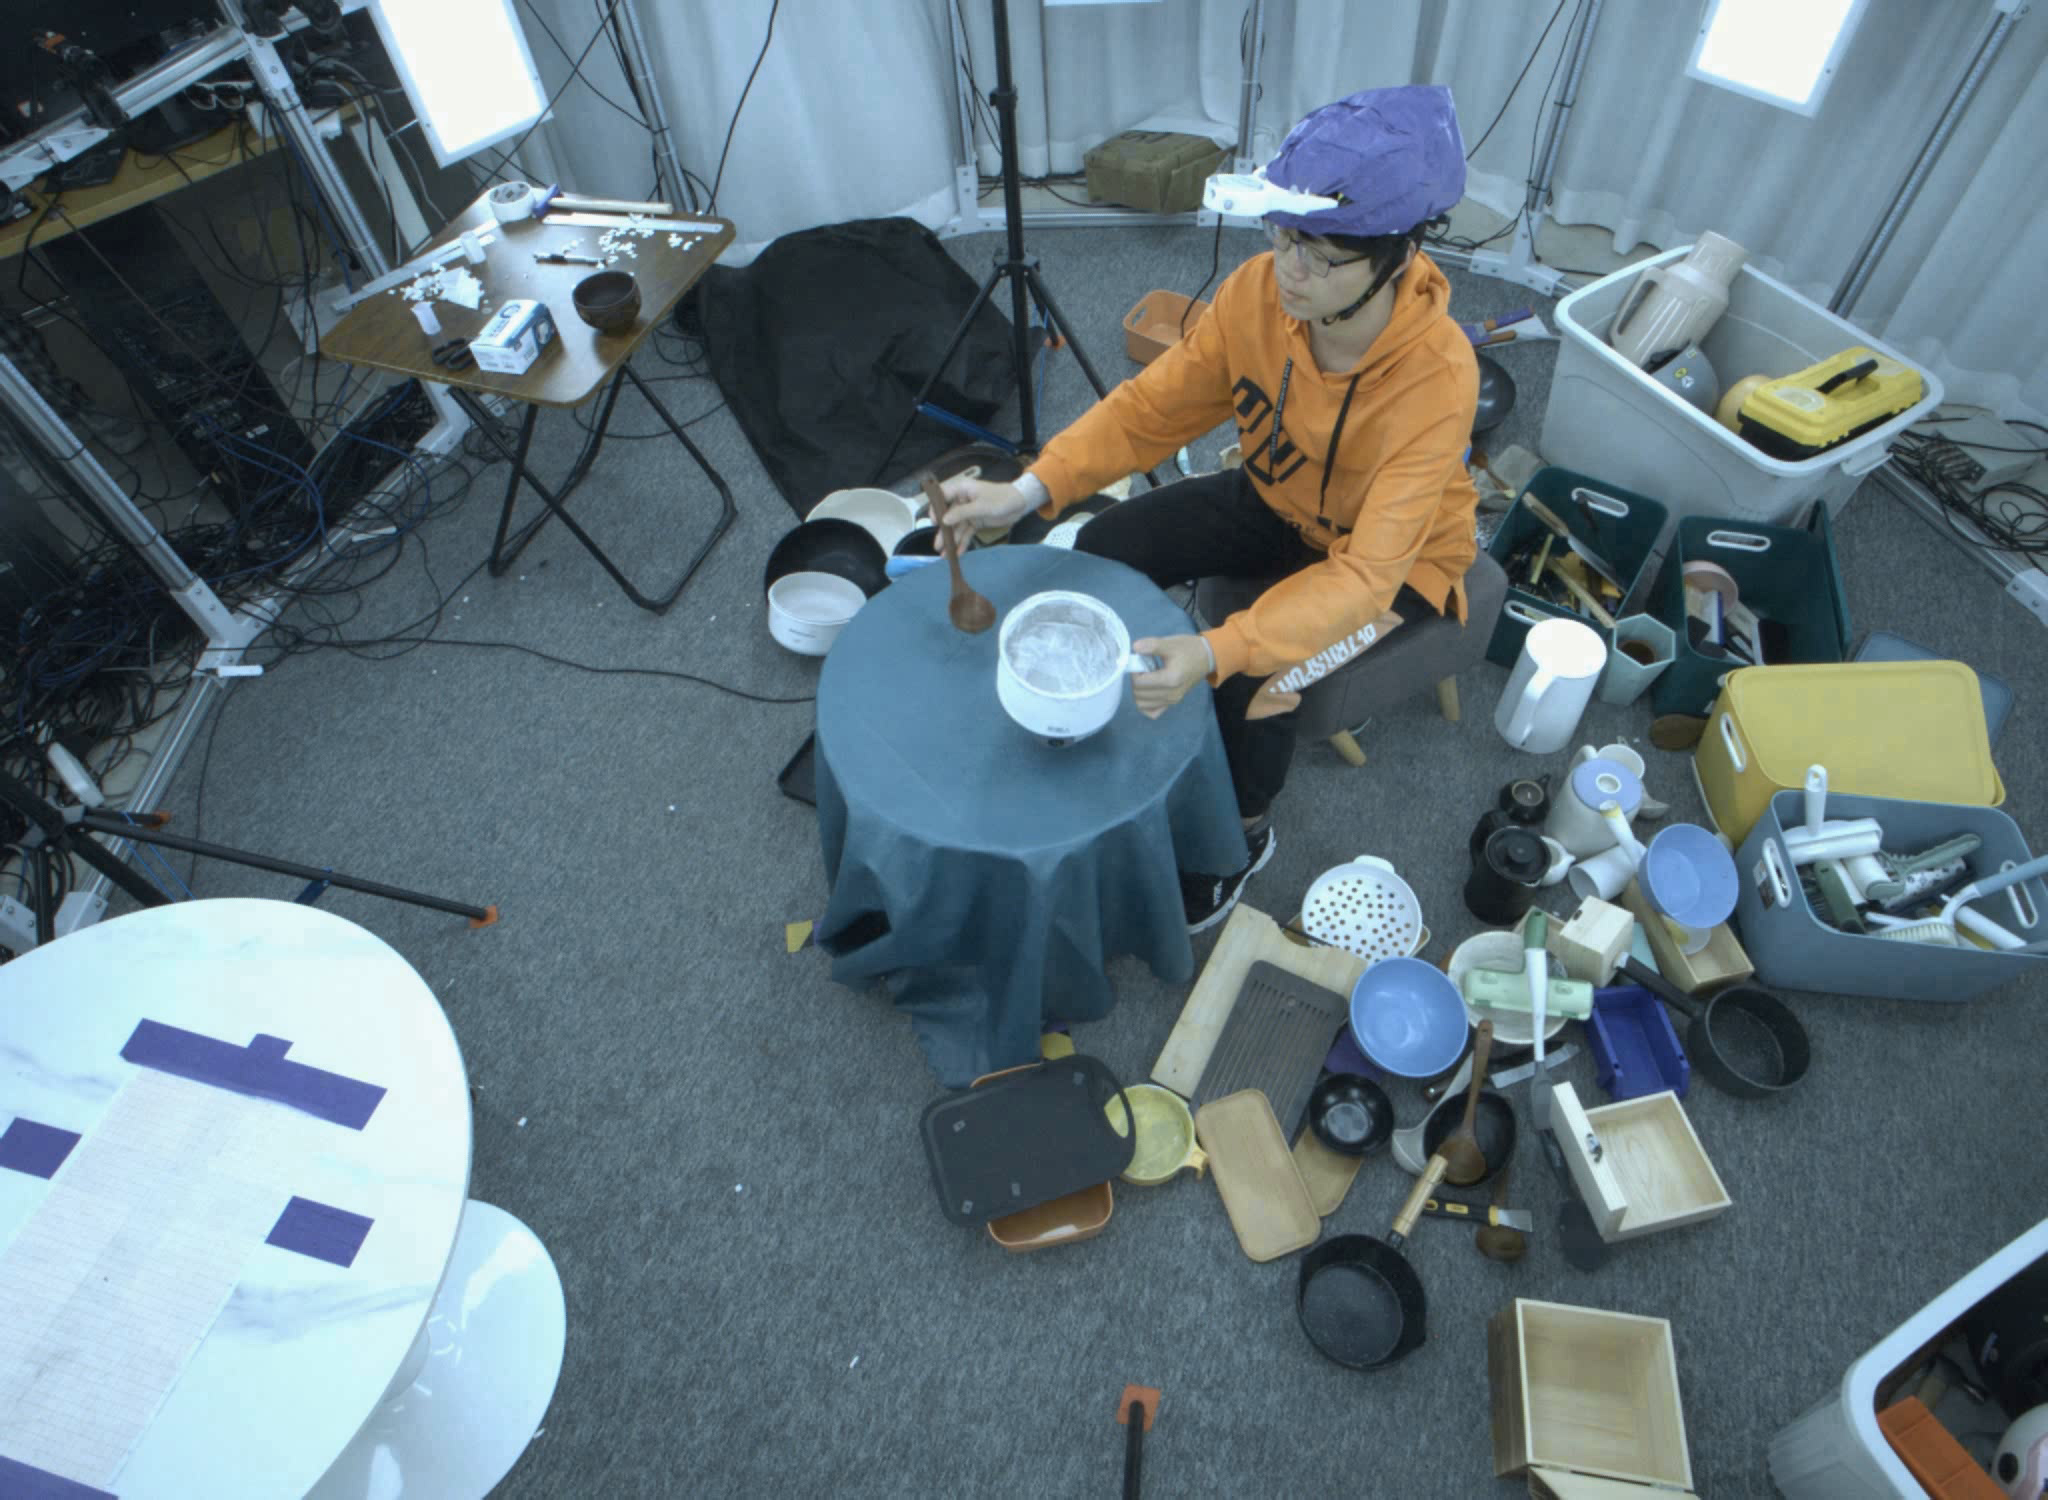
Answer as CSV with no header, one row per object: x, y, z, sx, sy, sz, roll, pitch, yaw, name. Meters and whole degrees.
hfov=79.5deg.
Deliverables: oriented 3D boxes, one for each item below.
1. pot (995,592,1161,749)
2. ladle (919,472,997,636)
0.077,-0.107,1.697,0.234,0.137,0.177,2,62,-3,pot
-0.105,-0.296,1.832,0.078,0.064,0.261,-21,101,-33,ladle
